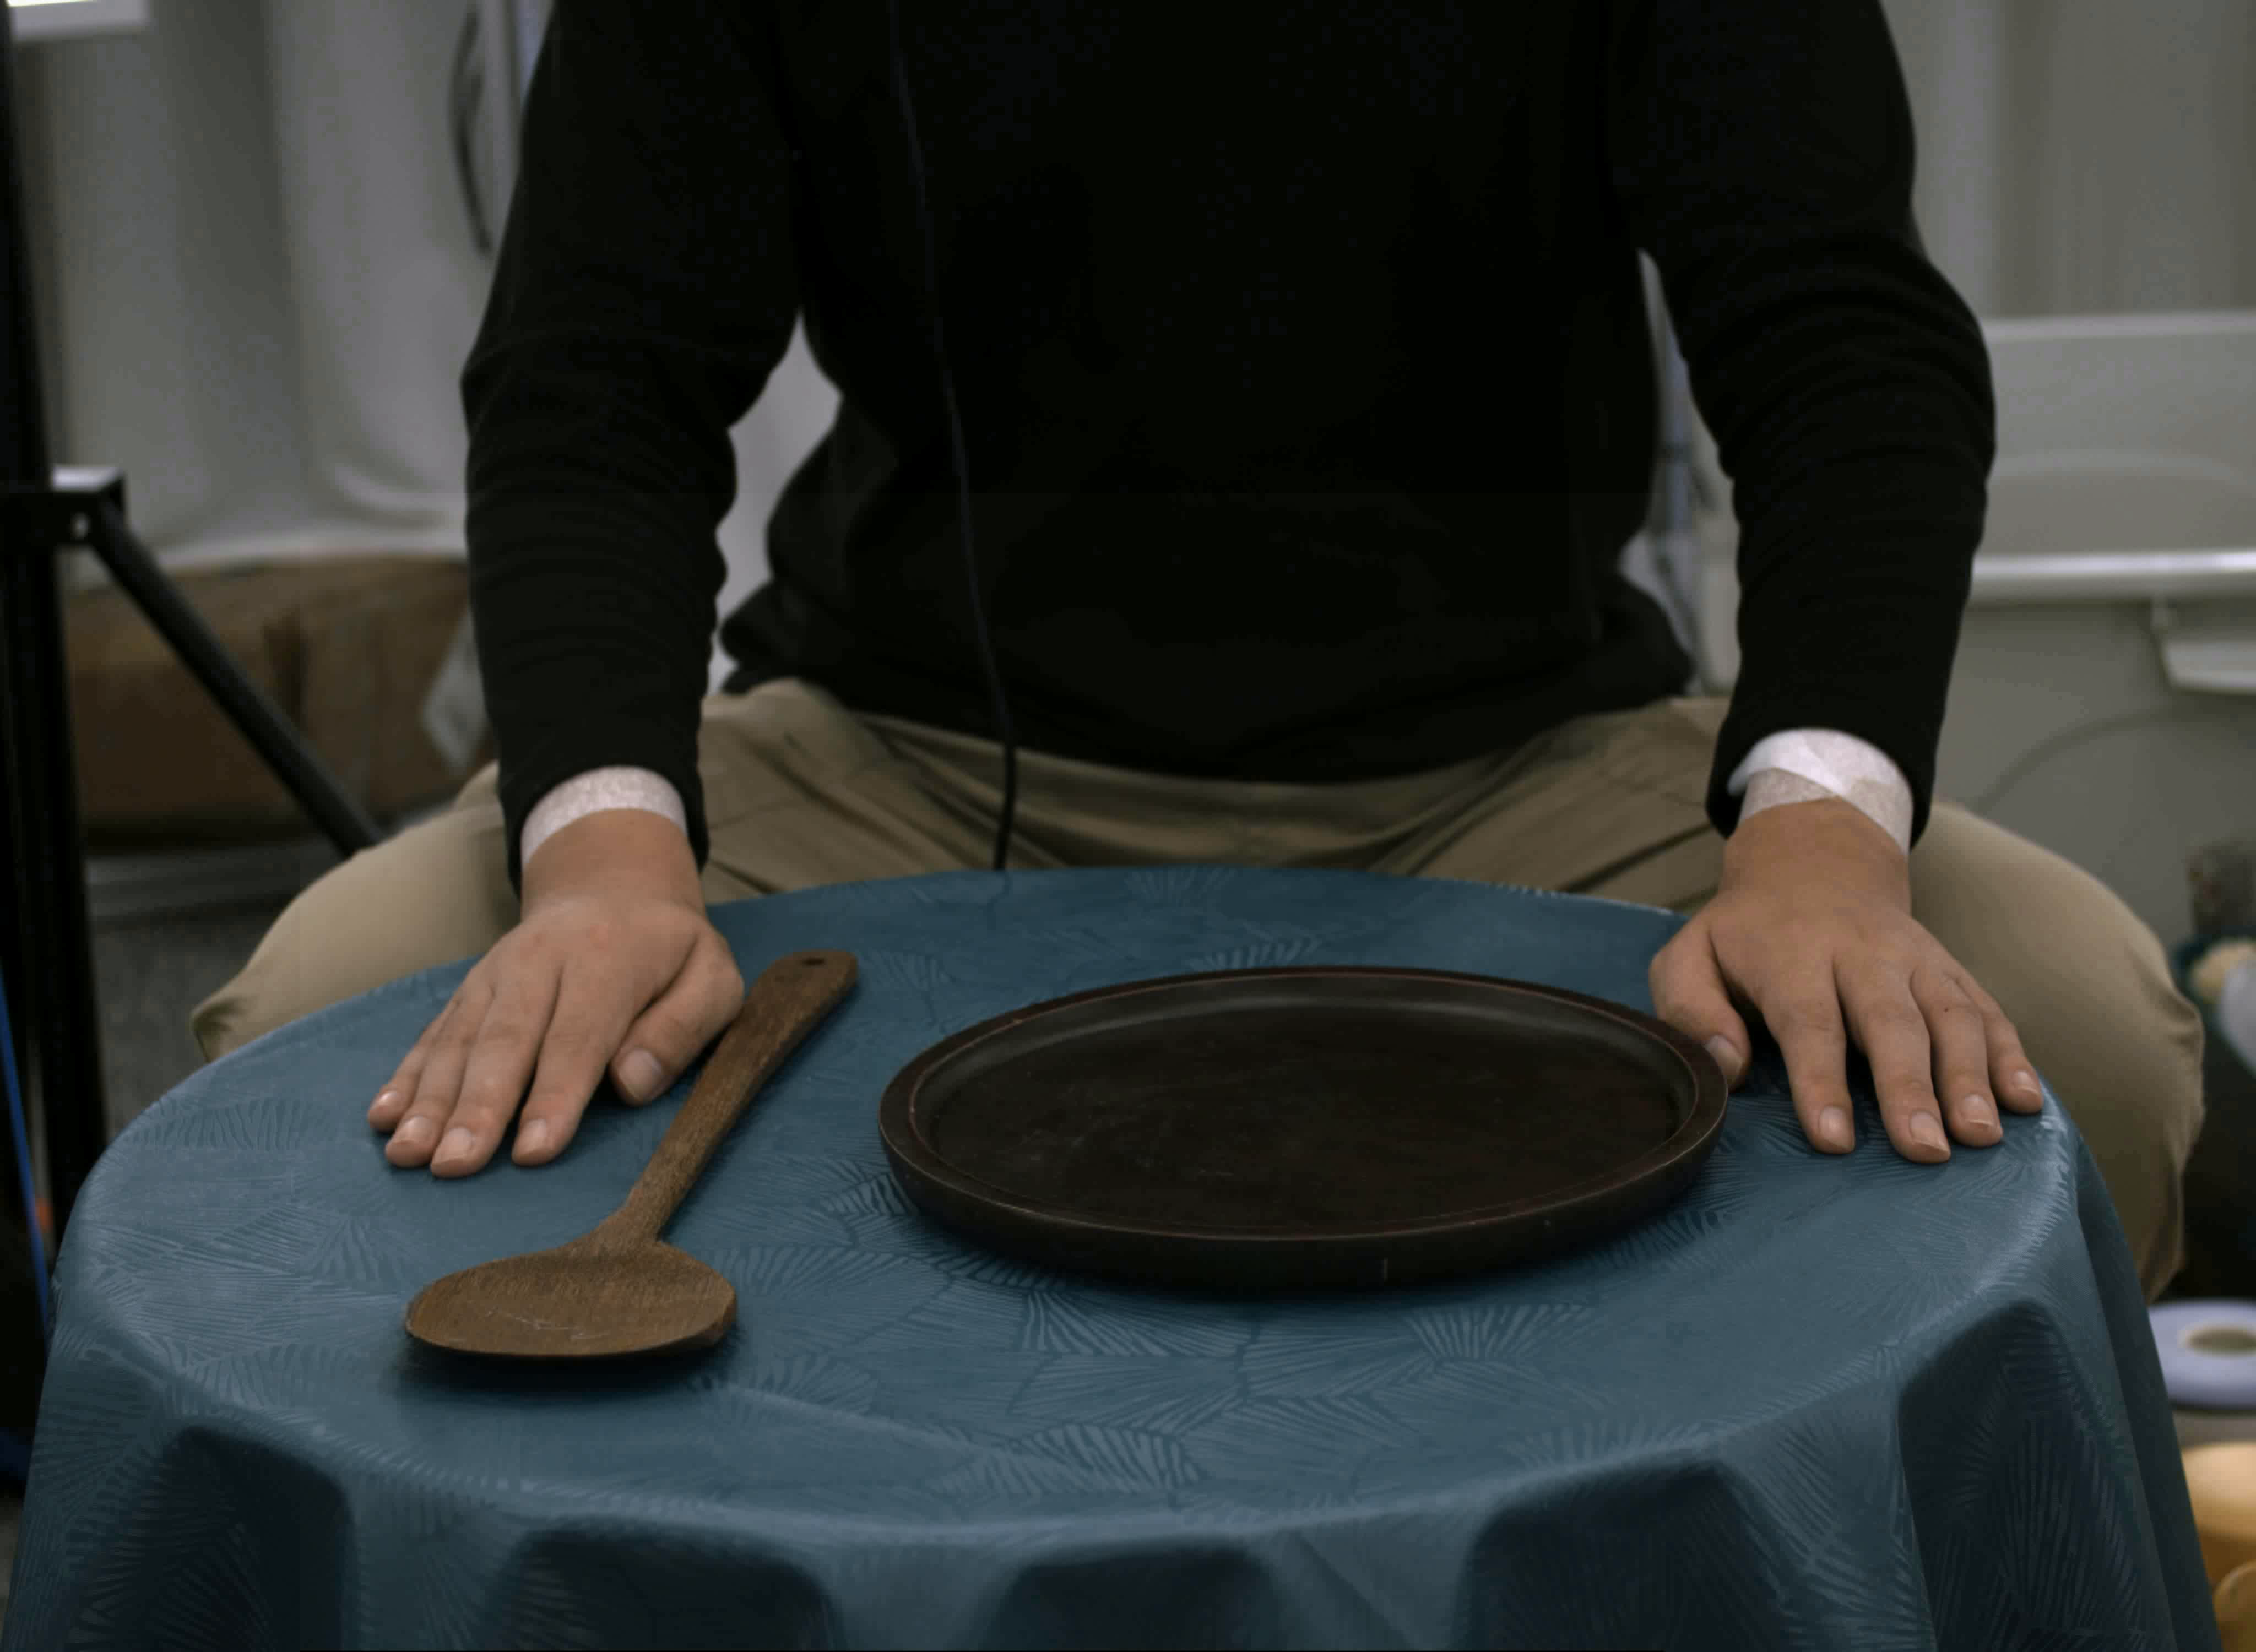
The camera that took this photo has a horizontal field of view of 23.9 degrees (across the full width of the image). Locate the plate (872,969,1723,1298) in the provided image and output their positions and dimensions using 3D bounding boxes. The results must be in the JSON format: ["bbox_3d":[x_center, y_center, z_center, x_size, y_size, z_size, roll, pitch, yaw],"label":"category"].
[{"bbox_3d":[0.051,0.088,1.574,0.253,0.029,0.256,-4,15,0],"label":"plate"}]

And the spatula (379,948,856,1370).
[{"bbox_3d":[-0.131,0.093,1.603,0.096,0.016,0.384,1,16,9],"label":"spatula"}]
